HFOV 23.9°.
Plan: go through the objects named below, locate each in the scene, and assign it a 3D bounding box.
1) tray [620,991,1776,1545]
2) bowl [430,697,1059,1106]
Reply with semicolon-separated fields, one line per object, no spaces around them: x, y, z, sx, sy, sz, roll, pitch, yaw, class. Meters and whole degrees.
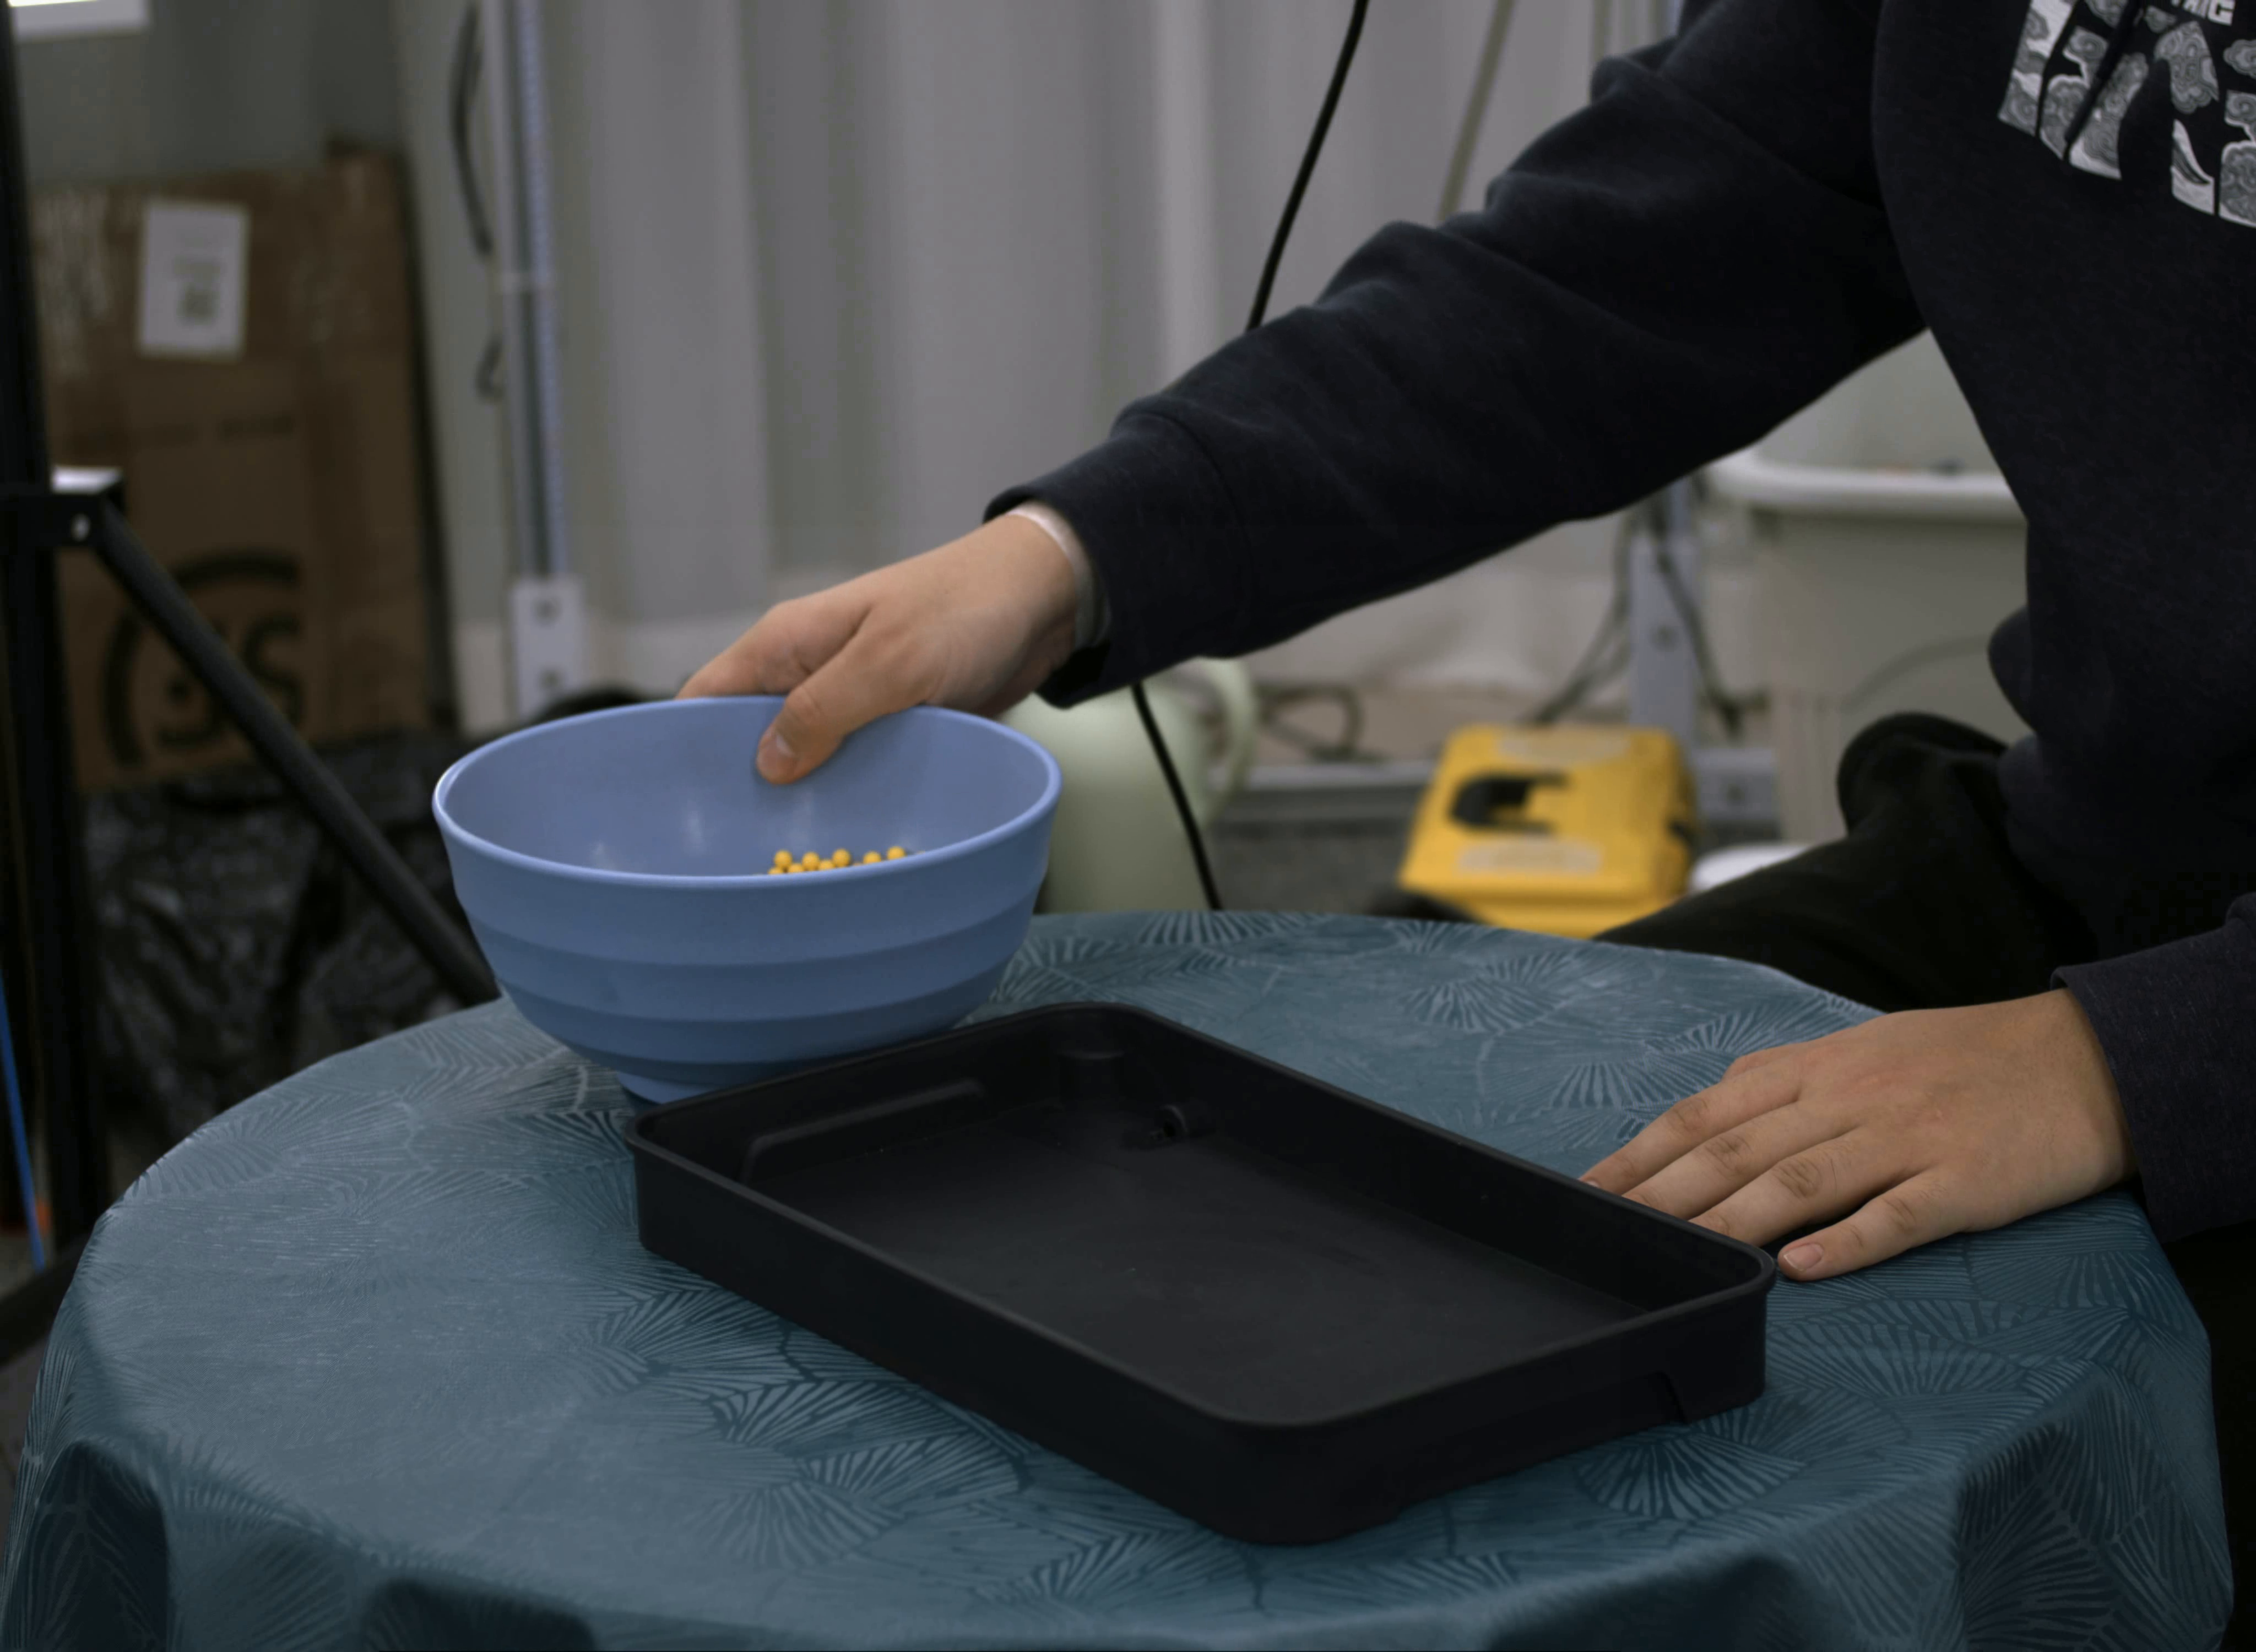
0.012;0.115;1.462;0.180;0.037;0.325;-13;19;-33;tray
-0.117;0.030;1.670;0.195;0.095;0.197;-3;17;0;bowl
